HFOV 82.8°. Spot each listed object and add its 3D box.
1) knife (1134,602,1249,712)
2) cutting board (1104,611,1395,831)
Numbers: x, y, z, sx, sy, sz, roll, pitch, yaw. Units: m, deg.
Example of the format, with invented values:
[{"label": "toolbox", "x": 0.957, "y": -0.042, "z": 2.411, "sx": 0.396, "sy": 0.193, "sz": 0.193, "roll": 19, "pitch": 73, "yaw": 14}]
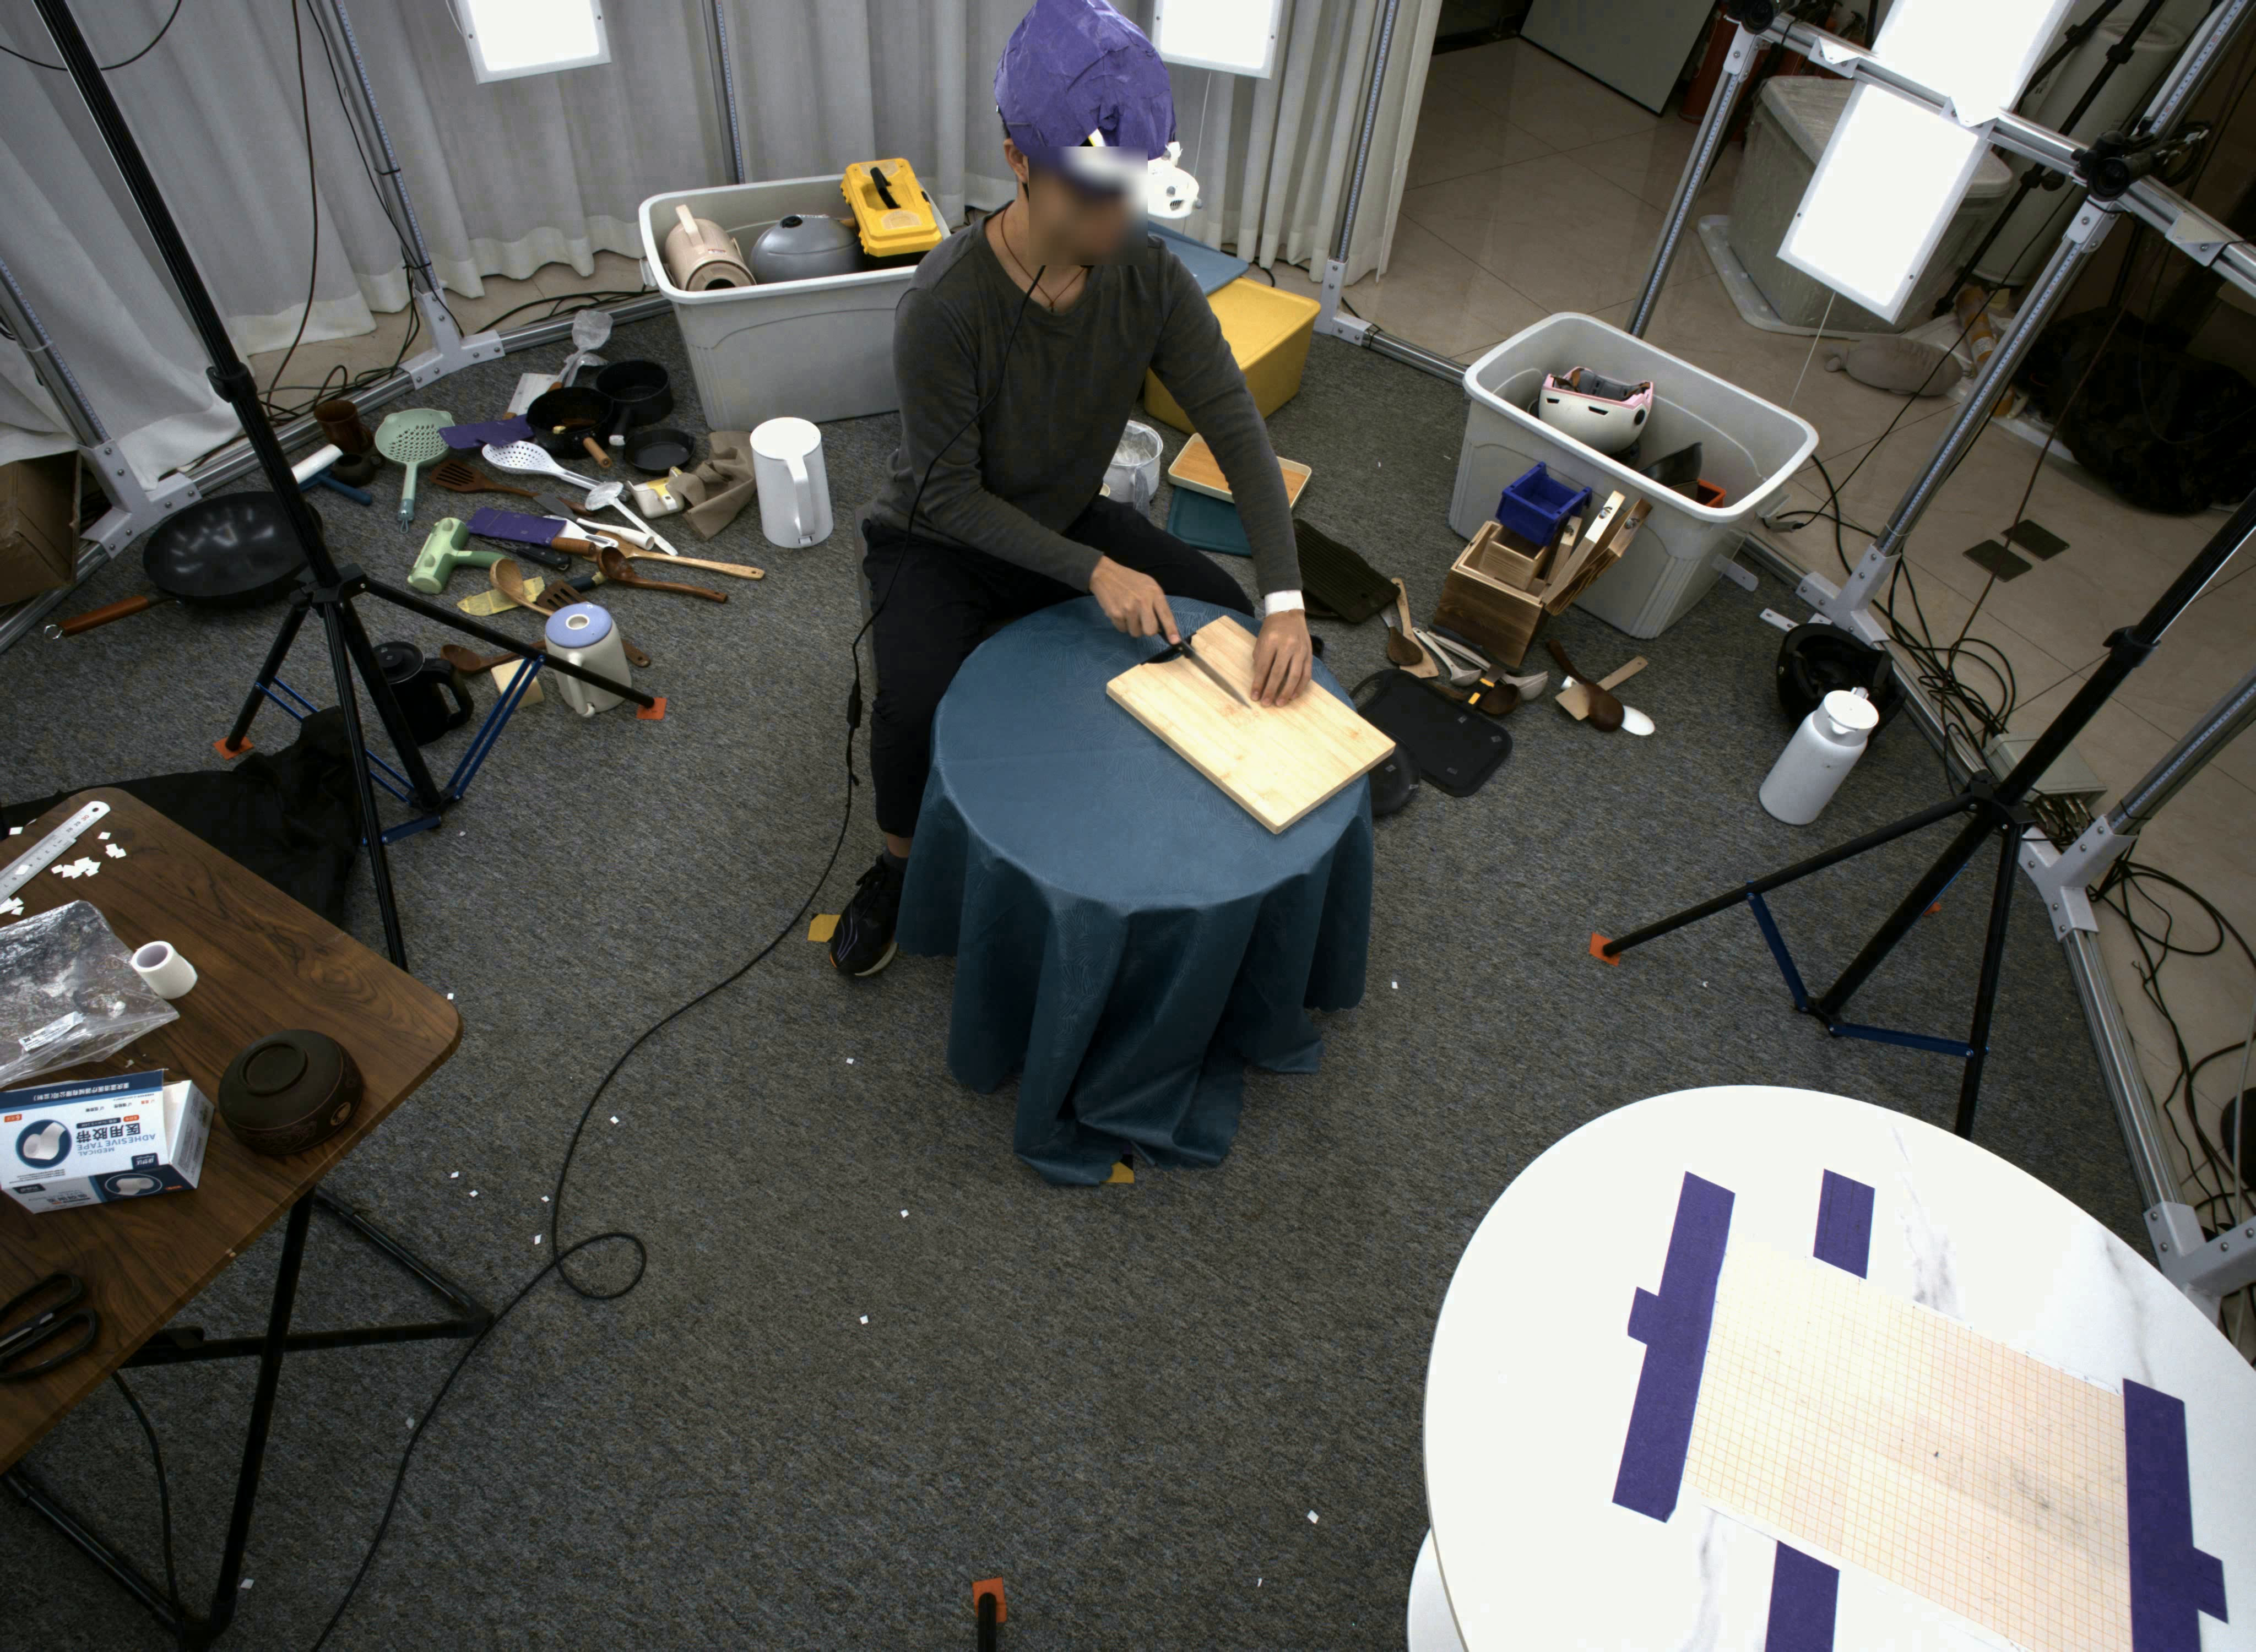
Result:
[{"label": "knife", "x": 0.092, "y": -0.243, "z": 1.830, "sx": 0.016, "sy": 0.024, "sz": 0.241, "roll": -30, "pitch": 66, "yaw": -33}, {"label": "cutting board", "x": 0.167, "y": -0.156, "z": 1.804, "sx": 0.252, "sy": 0.023, "sz": 0.354, "roll": -33, "pitch": 59, "yaw": -28}]
